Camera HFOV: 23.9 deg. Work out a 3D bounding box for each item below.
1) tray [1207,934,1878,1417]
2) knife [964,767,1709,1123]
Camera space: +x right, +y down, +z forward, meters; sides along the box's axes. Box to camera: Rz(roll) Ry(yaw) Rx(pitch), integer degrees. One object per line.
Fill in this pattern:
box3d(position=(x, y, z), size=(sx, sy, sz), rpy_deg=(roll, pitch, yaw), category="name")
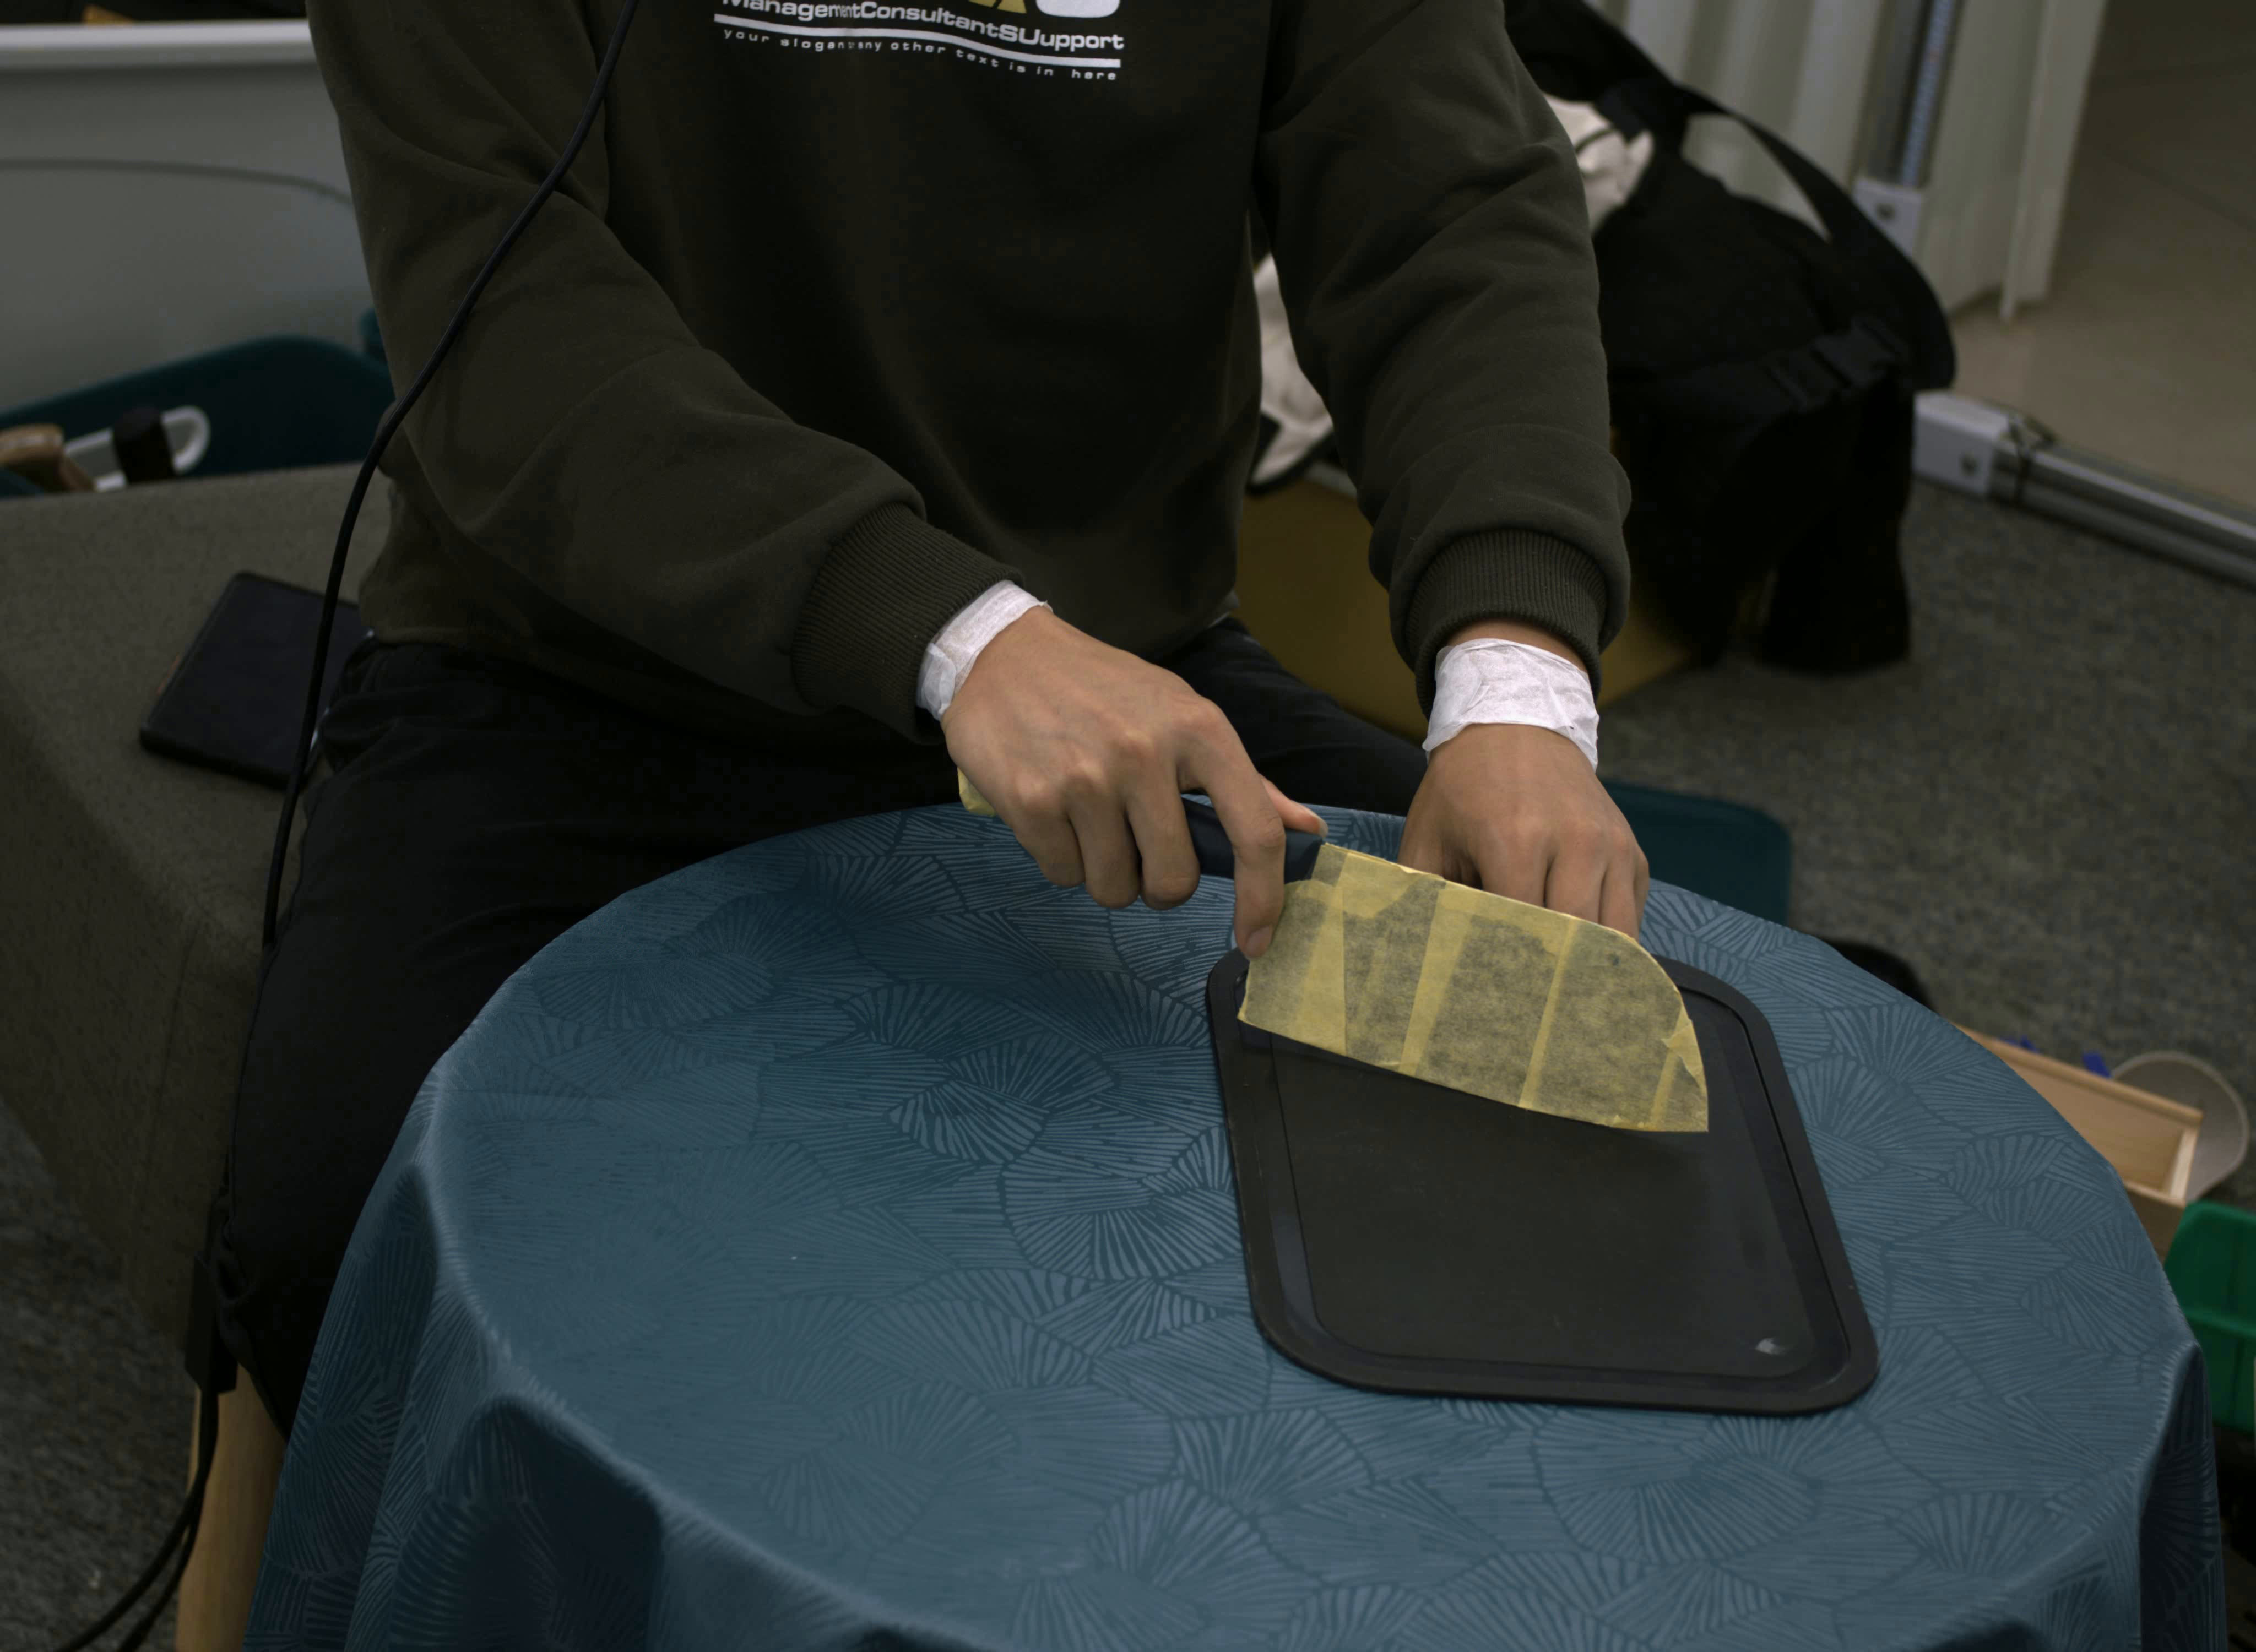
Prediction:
box3d(position=(0.137, 0.110, 1.854), size=(0.210, 0.010, 0.327), rpy_deg=(4, 27, -5), category="tray")
box3d(position=(0.071, 0.041, 1.893), size=(0.290, 0.081, 0.027), rpy_deg=(20, 11, 15), category="knife")
